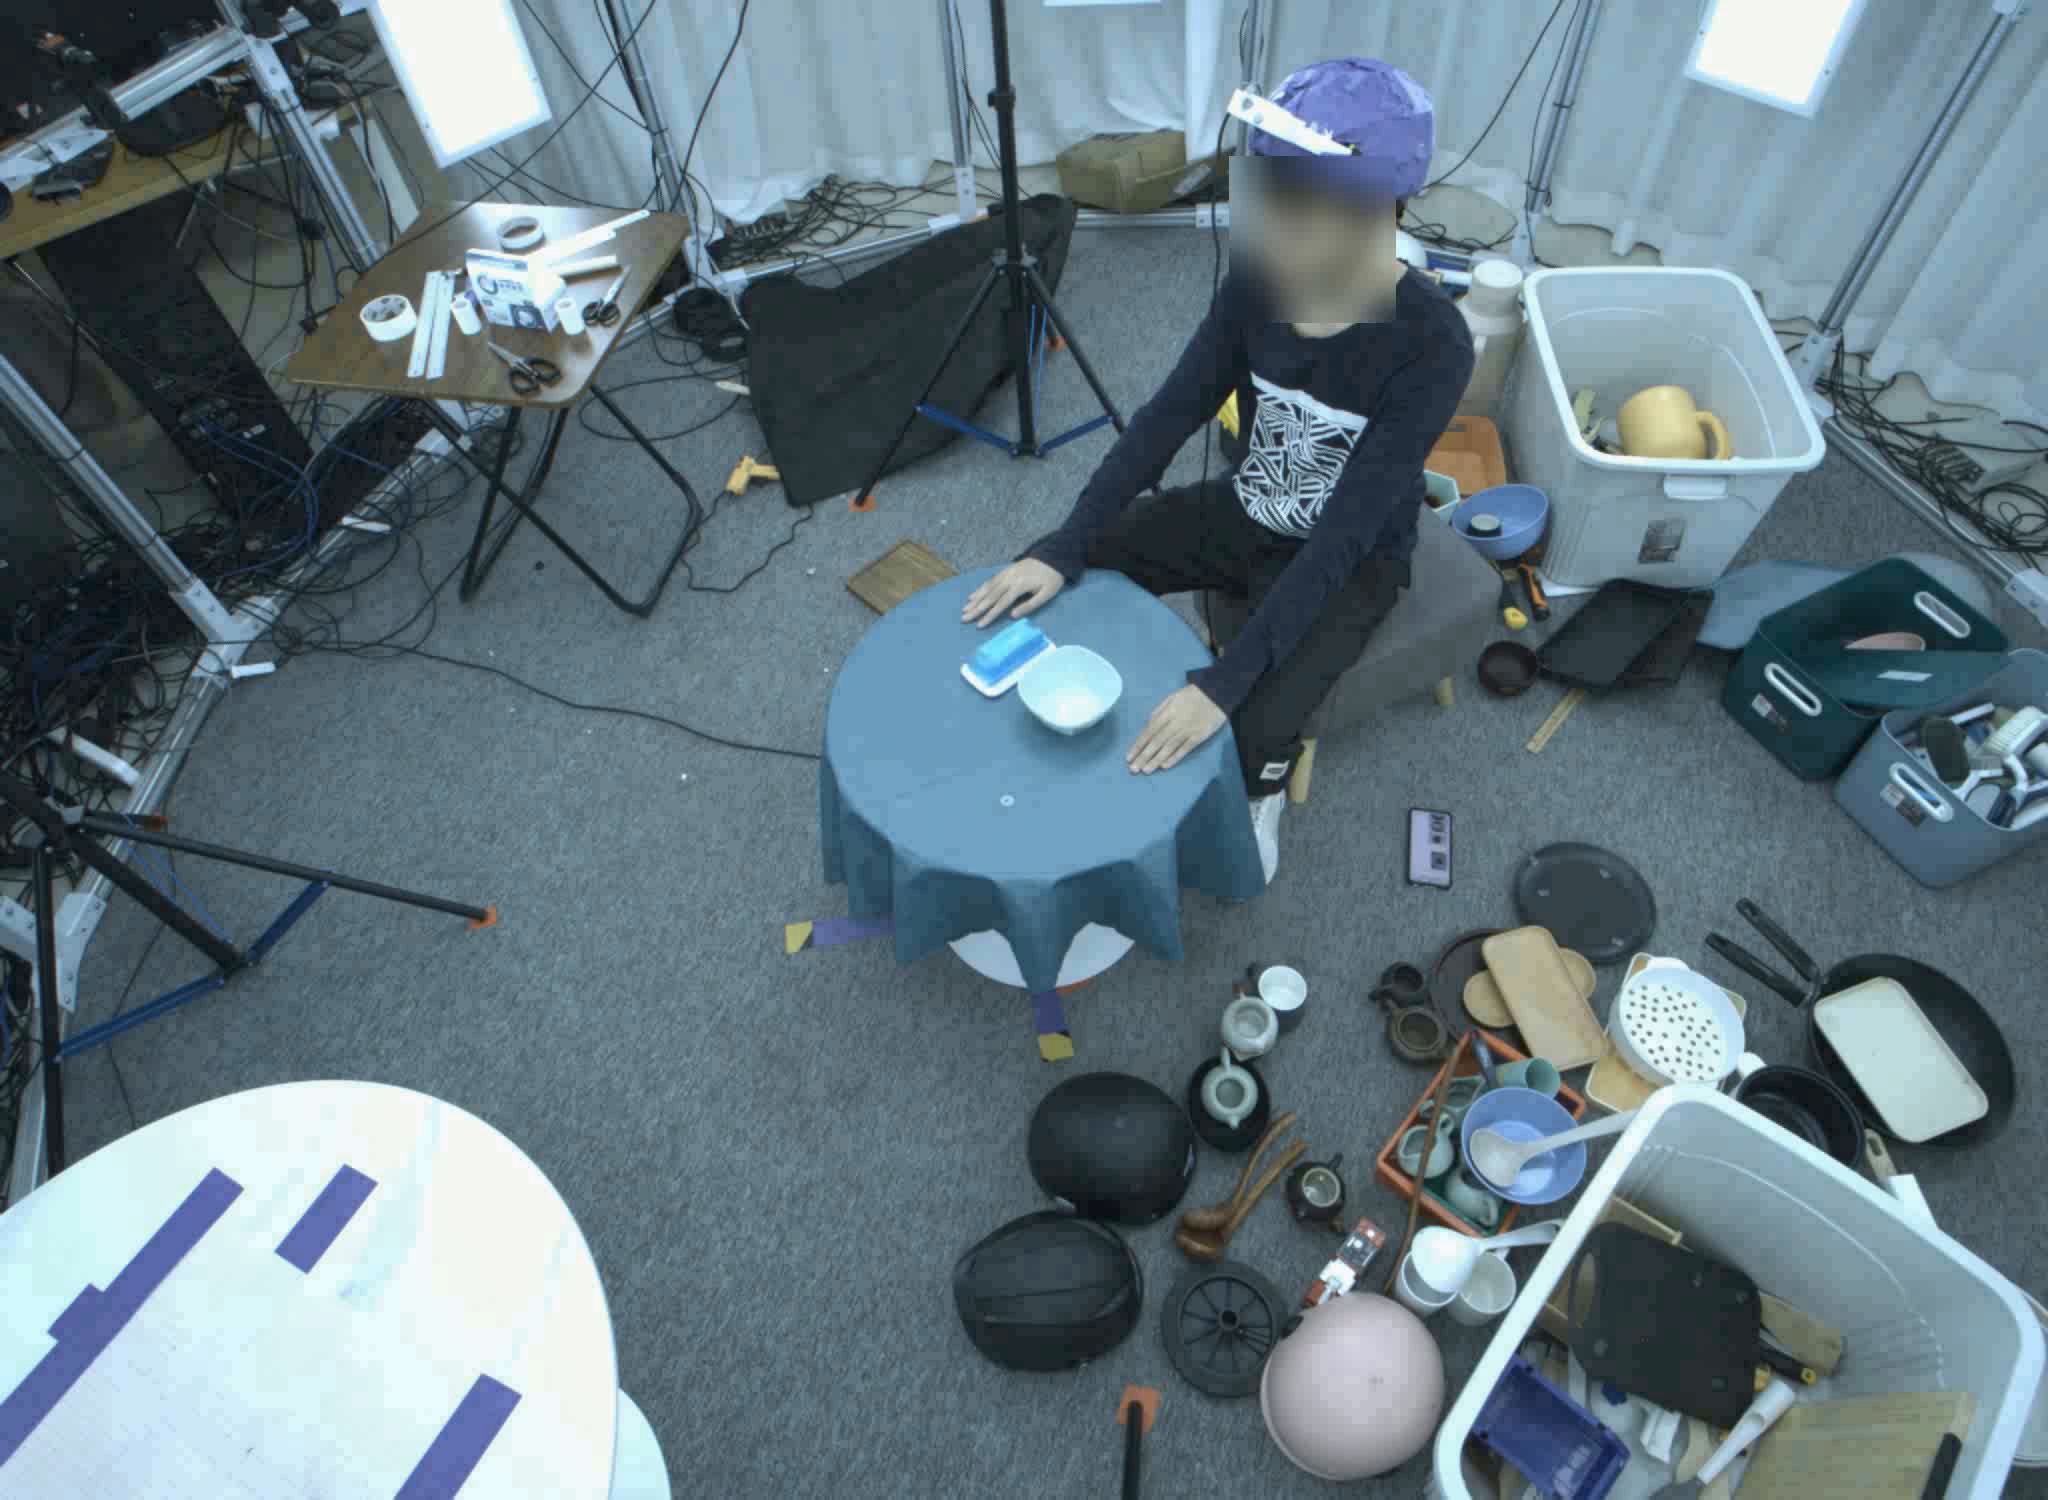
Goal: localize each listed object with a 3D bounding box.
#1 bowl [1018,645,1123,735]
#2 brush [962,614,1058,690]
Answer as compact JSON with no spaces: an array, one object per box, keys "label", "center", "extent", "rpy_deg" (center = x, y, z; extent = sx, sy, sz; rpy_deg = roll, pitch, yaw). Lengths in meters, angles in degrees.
[{"label":"bowl","center":[0.068,-0.078,1.799],"extent":[0.151,0.059,0.150],"rpy_deg":[0,56,1]},{"label":"brush","center":[-0.021,-0.156,1.854],"extent":[0.145,0.056,0.082],"rpy_deg":[-37,65,-20]}]
